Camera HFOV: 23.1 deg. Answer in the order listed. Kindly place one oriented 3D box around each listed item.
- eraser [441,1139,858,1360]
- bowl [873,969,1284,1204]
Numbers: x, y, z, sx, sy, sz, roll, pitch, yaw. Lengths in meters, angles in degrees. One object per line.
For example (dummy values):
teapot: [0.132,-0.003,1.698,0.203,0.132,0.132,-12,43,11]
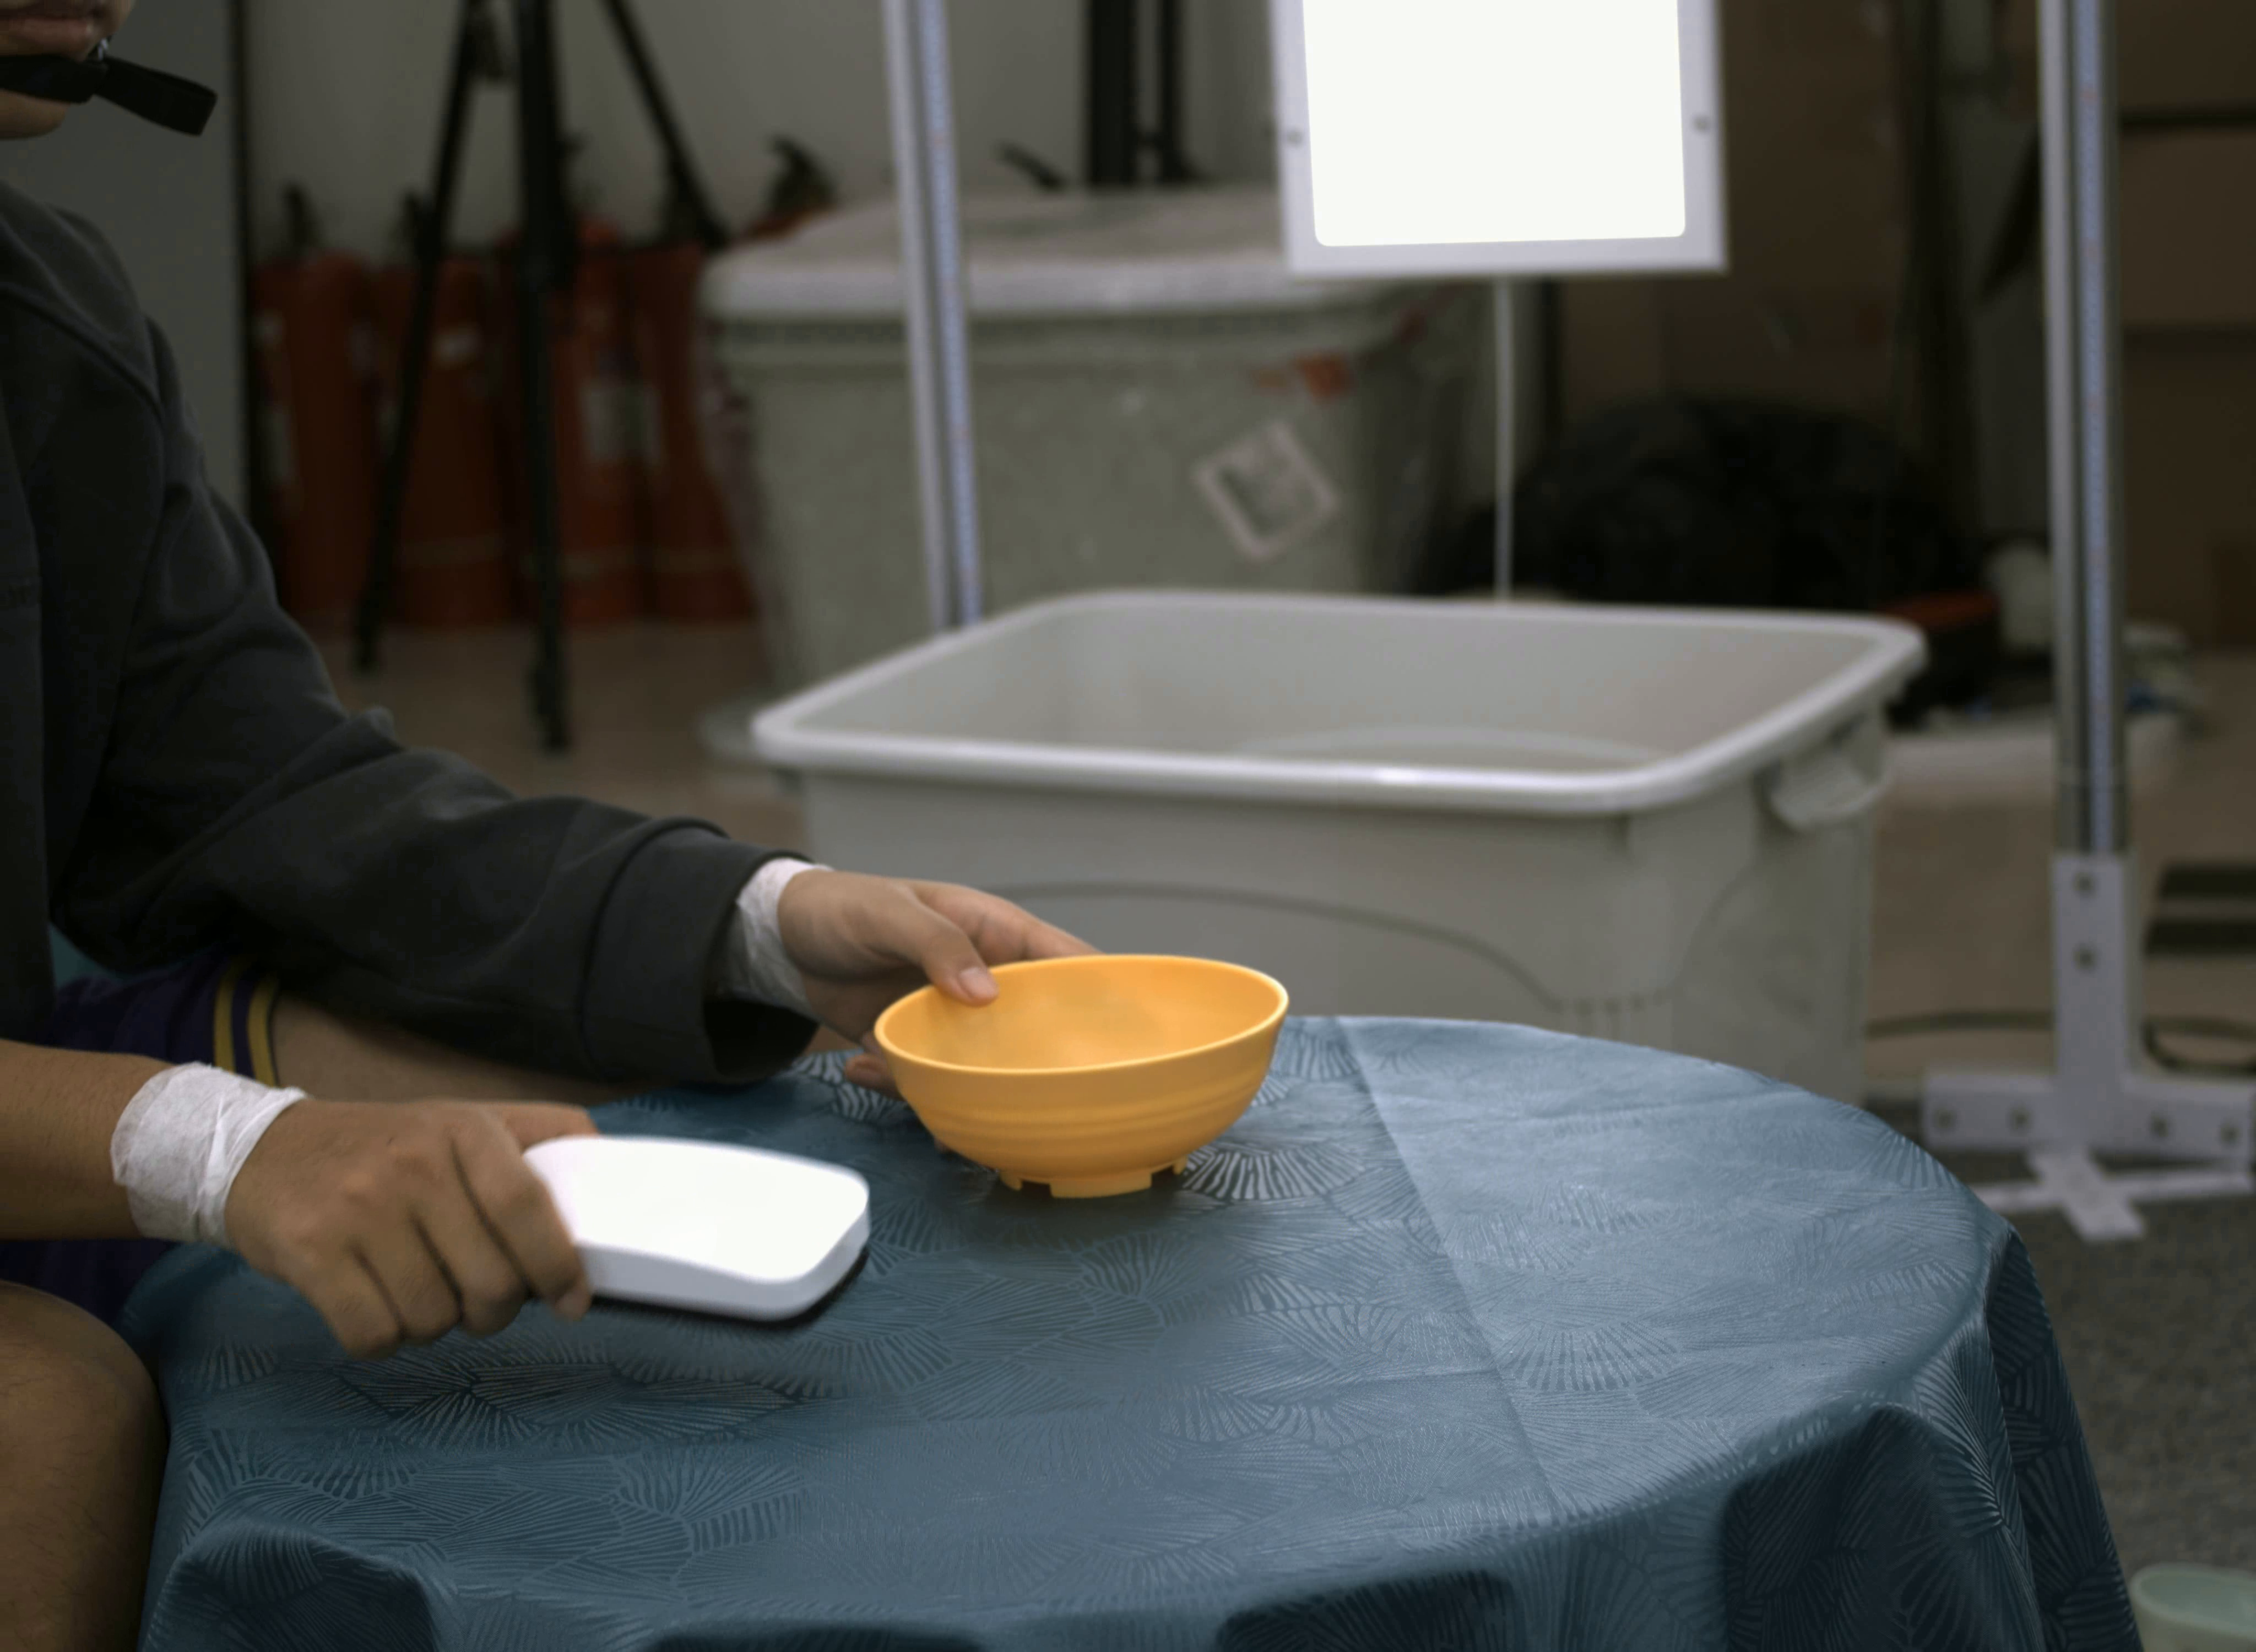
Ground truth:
eraser: [-0.149,0.131,1.734,0.133,0.034,0.062,8,32,28]
bowl: [-0.015,0.095,1.919,0.145,0.060,0.145,-6,12,0]
